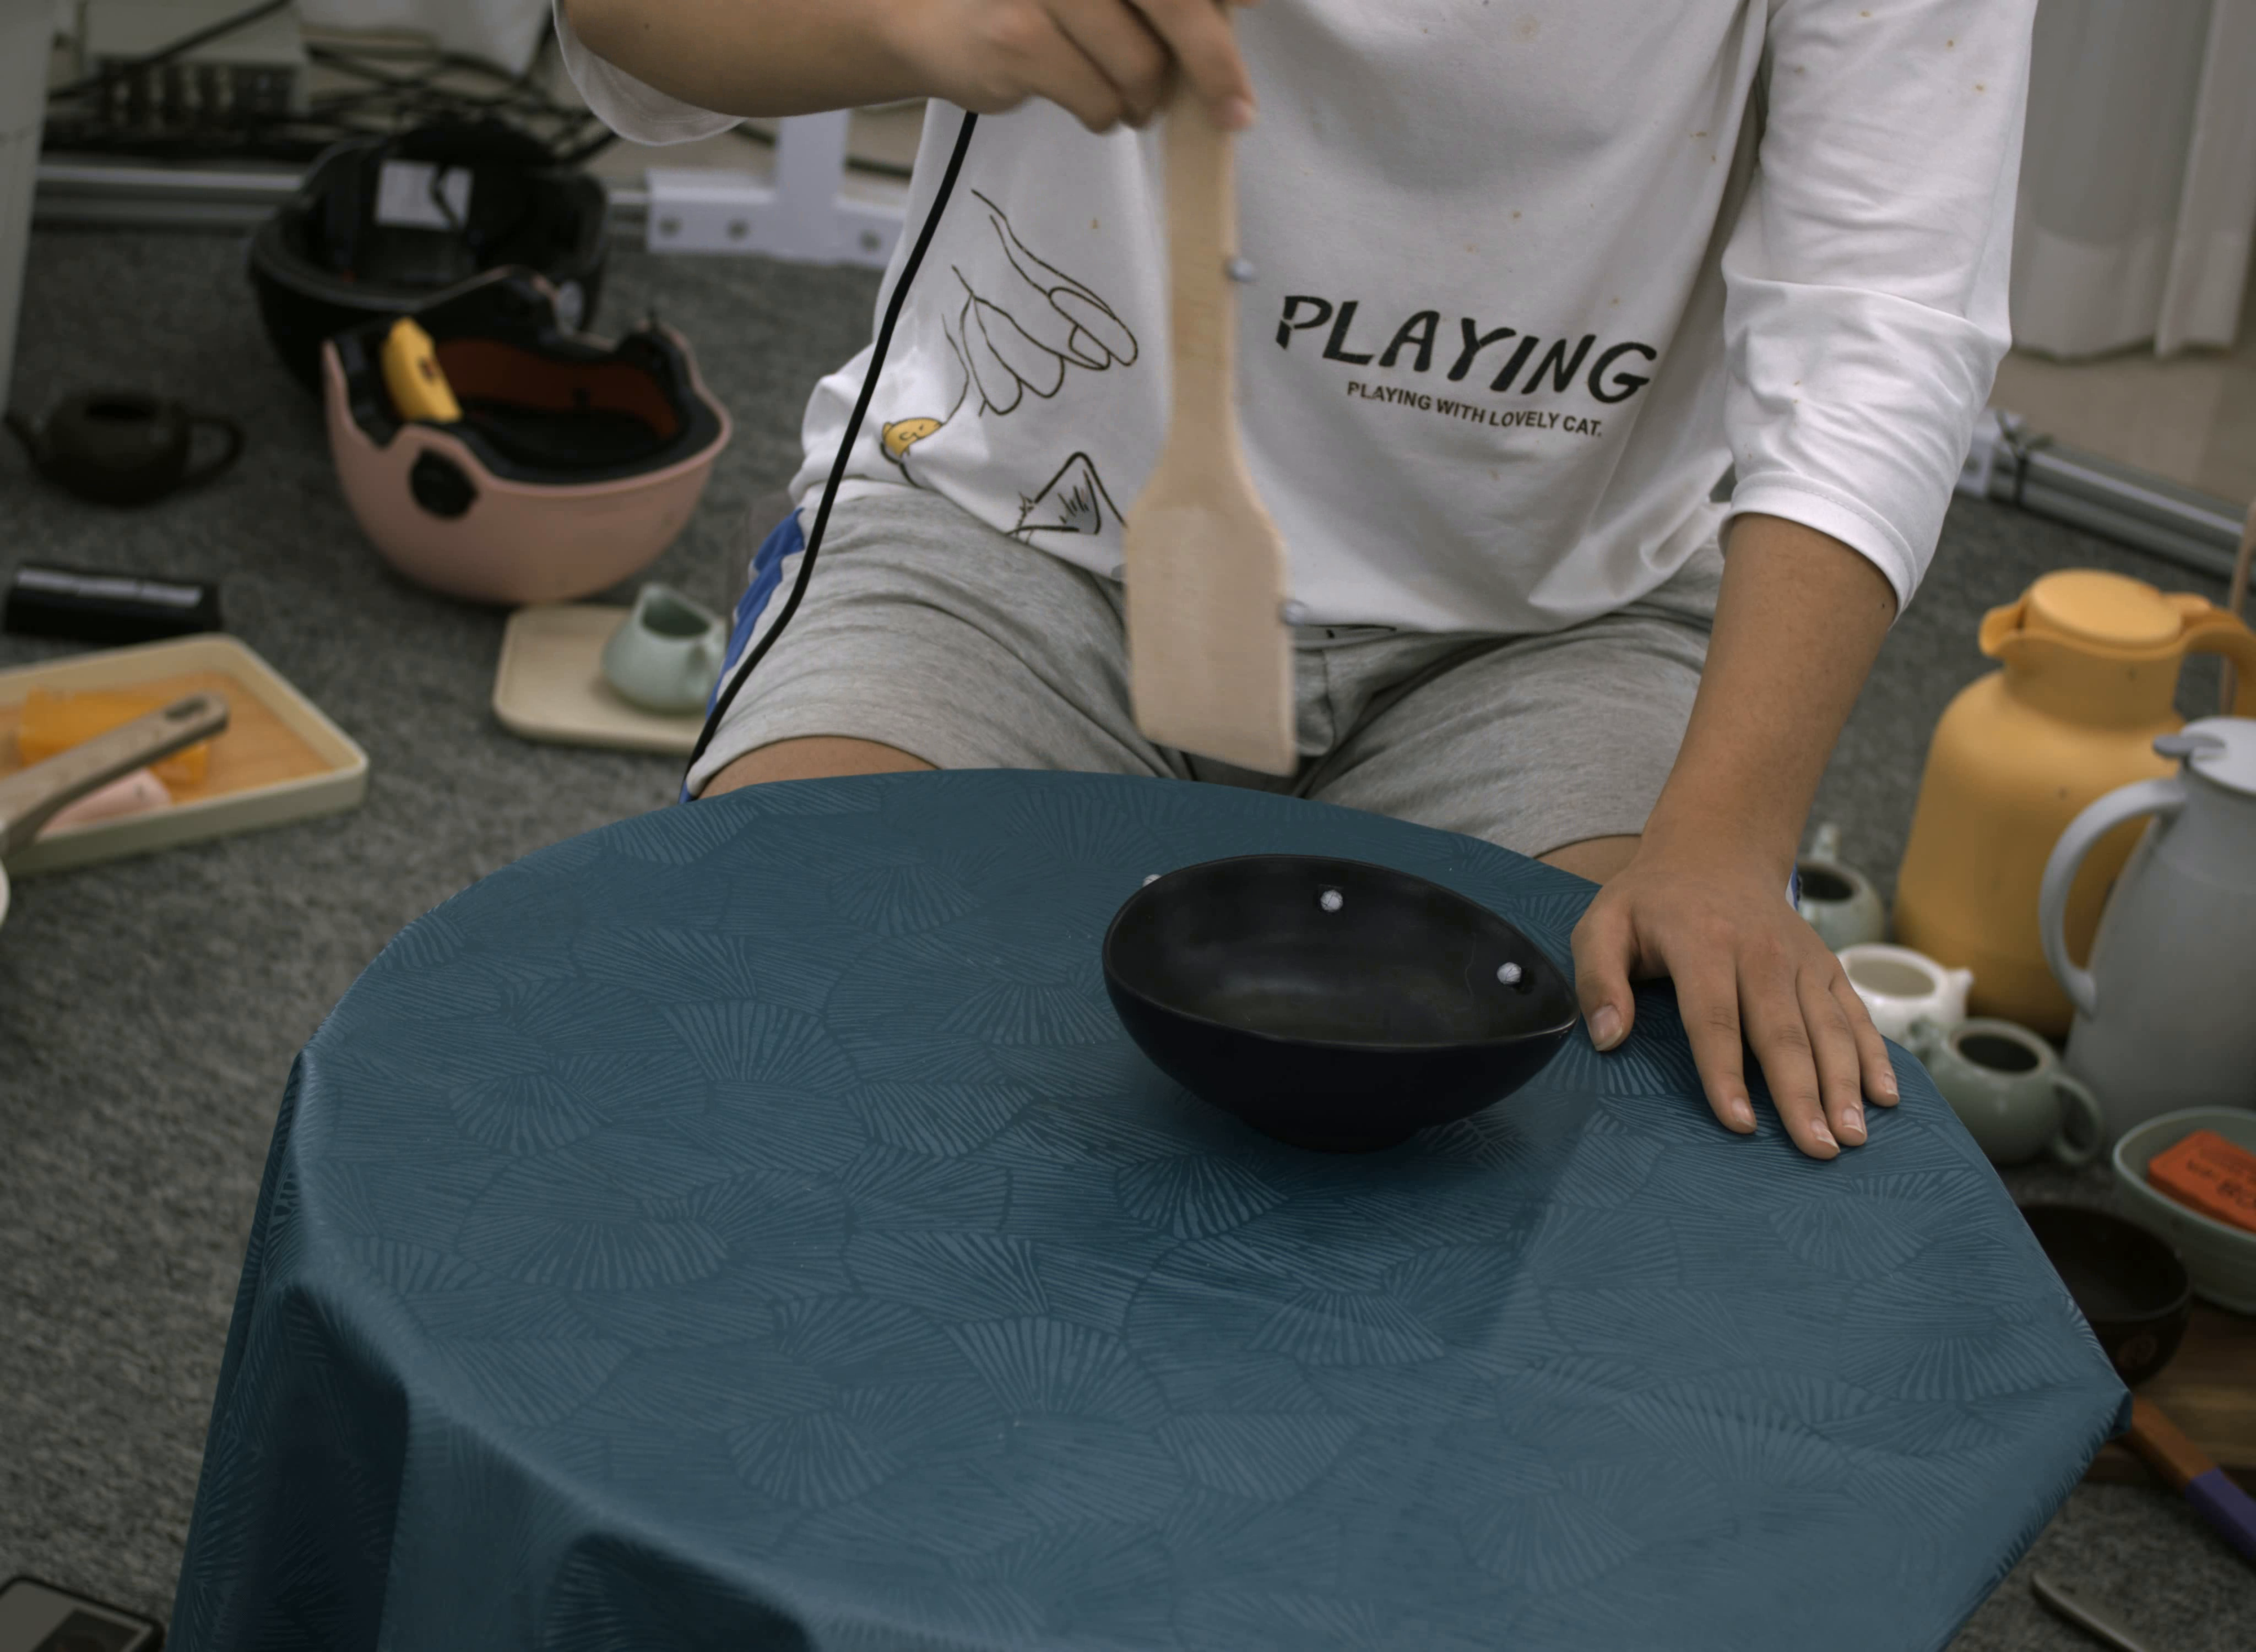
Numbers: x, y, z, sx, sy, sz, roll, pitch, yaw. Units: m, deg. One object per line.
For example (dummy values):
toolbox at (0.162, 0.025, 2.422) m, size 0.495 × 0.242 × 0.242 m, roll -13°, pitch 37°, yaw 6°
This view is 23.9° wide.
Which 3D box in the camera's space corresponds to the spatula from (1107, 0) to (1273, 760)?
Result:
spatula at (0.019, -0.165, 1.743) m, size 0.073 × 0.292 × 0.010 m, roll 15°, pitch 23°, yaw 43°

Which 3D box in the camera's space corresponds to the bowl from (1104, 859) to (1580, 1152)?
bowl at (0.071, 0.069, 1.860) m, size 0.169 × 0.066 × 0.138 m, roll 3°, pitch 26°, yaw -12°
